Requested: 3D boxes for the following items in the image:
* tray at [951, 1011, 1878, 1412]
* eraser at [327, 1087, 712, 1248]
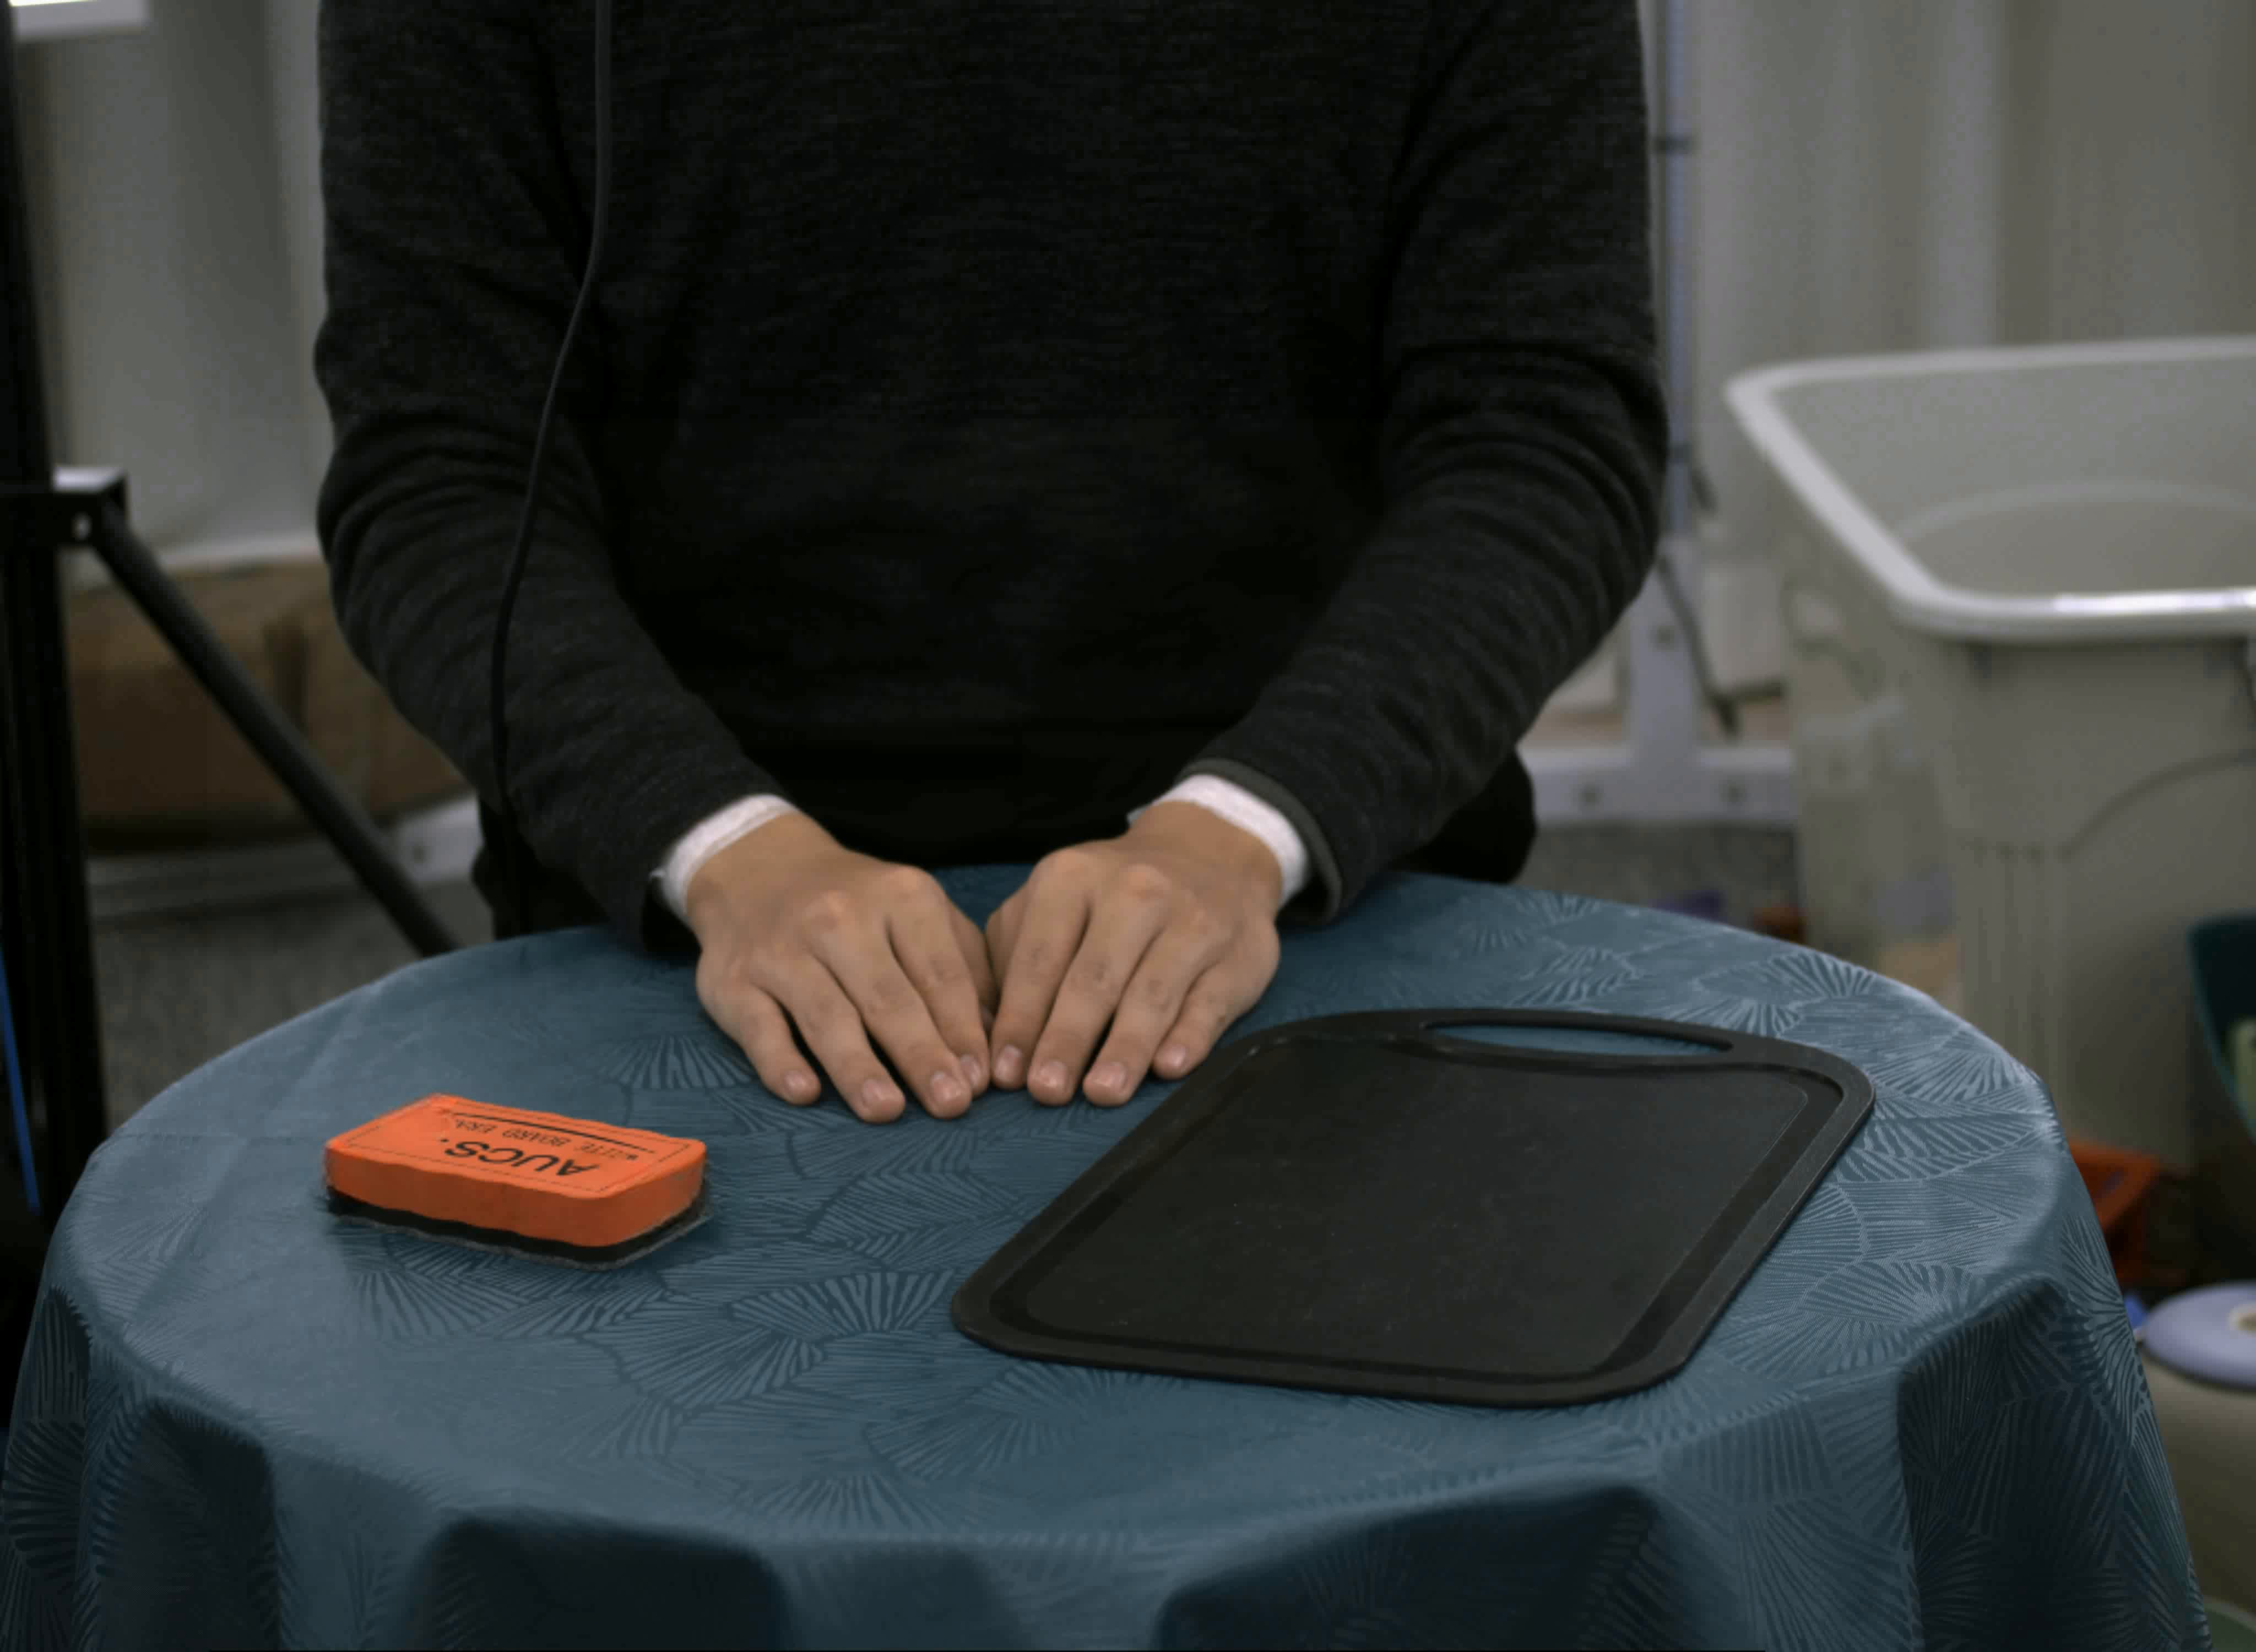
[{"bbox_3d":[0.092,0.103,1.546,0.214,0.010,0.321,4,17,22],"label":"tray"},{"bbox_3d":[-0.178,0.100,1.559,0.110,0.023,0.058,6,16,34],"label":"eraser"}]
